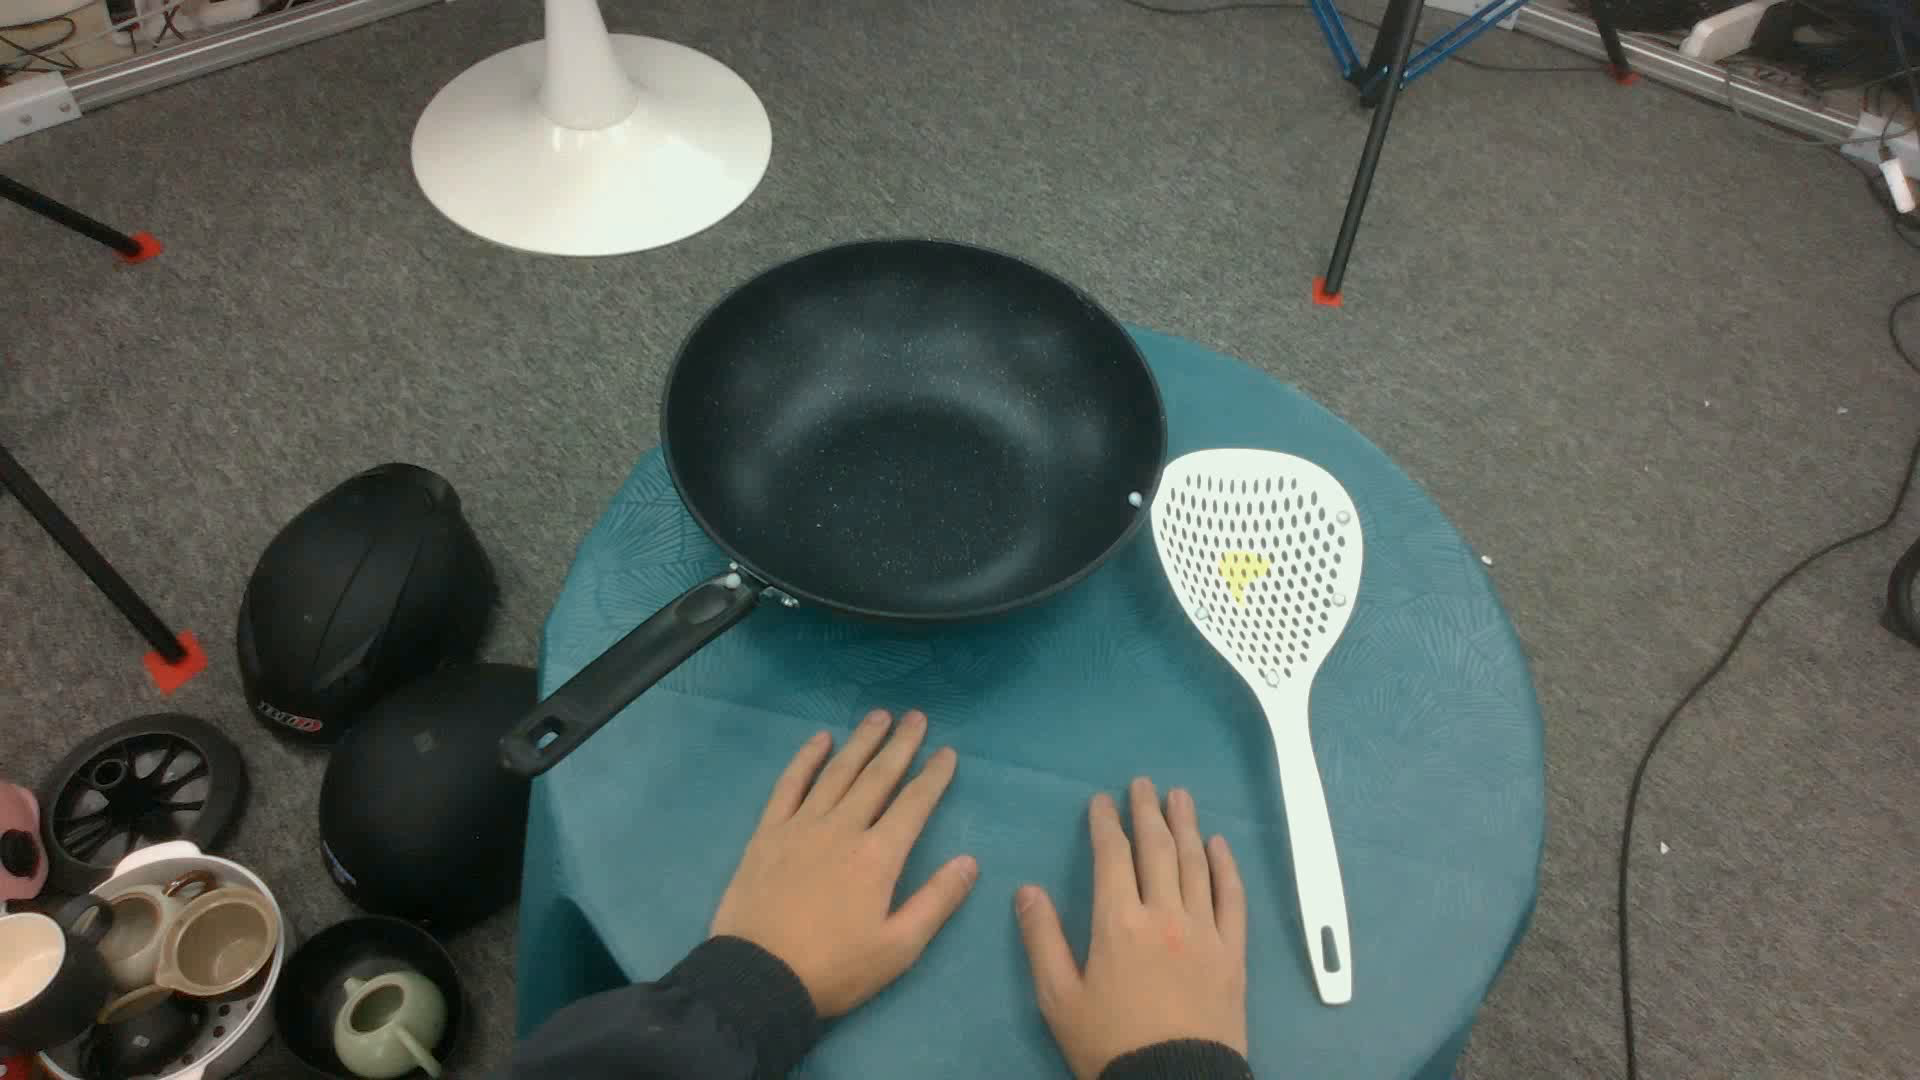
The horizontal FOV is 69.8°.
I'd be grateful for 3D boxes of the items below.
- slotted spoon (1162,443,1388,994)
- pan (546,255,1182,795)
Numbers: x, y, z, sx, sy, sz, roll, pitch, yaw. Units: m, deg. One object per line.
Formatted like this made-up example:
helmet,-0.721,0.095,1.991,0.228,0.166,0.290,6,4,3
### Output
slotted spoon,0.202,0.088,0.817,0.137,0.050,0.349,-1,53,-5
pan,-0.064,-0.003,0.837,0.310,0.111,0.479,28,56,20
